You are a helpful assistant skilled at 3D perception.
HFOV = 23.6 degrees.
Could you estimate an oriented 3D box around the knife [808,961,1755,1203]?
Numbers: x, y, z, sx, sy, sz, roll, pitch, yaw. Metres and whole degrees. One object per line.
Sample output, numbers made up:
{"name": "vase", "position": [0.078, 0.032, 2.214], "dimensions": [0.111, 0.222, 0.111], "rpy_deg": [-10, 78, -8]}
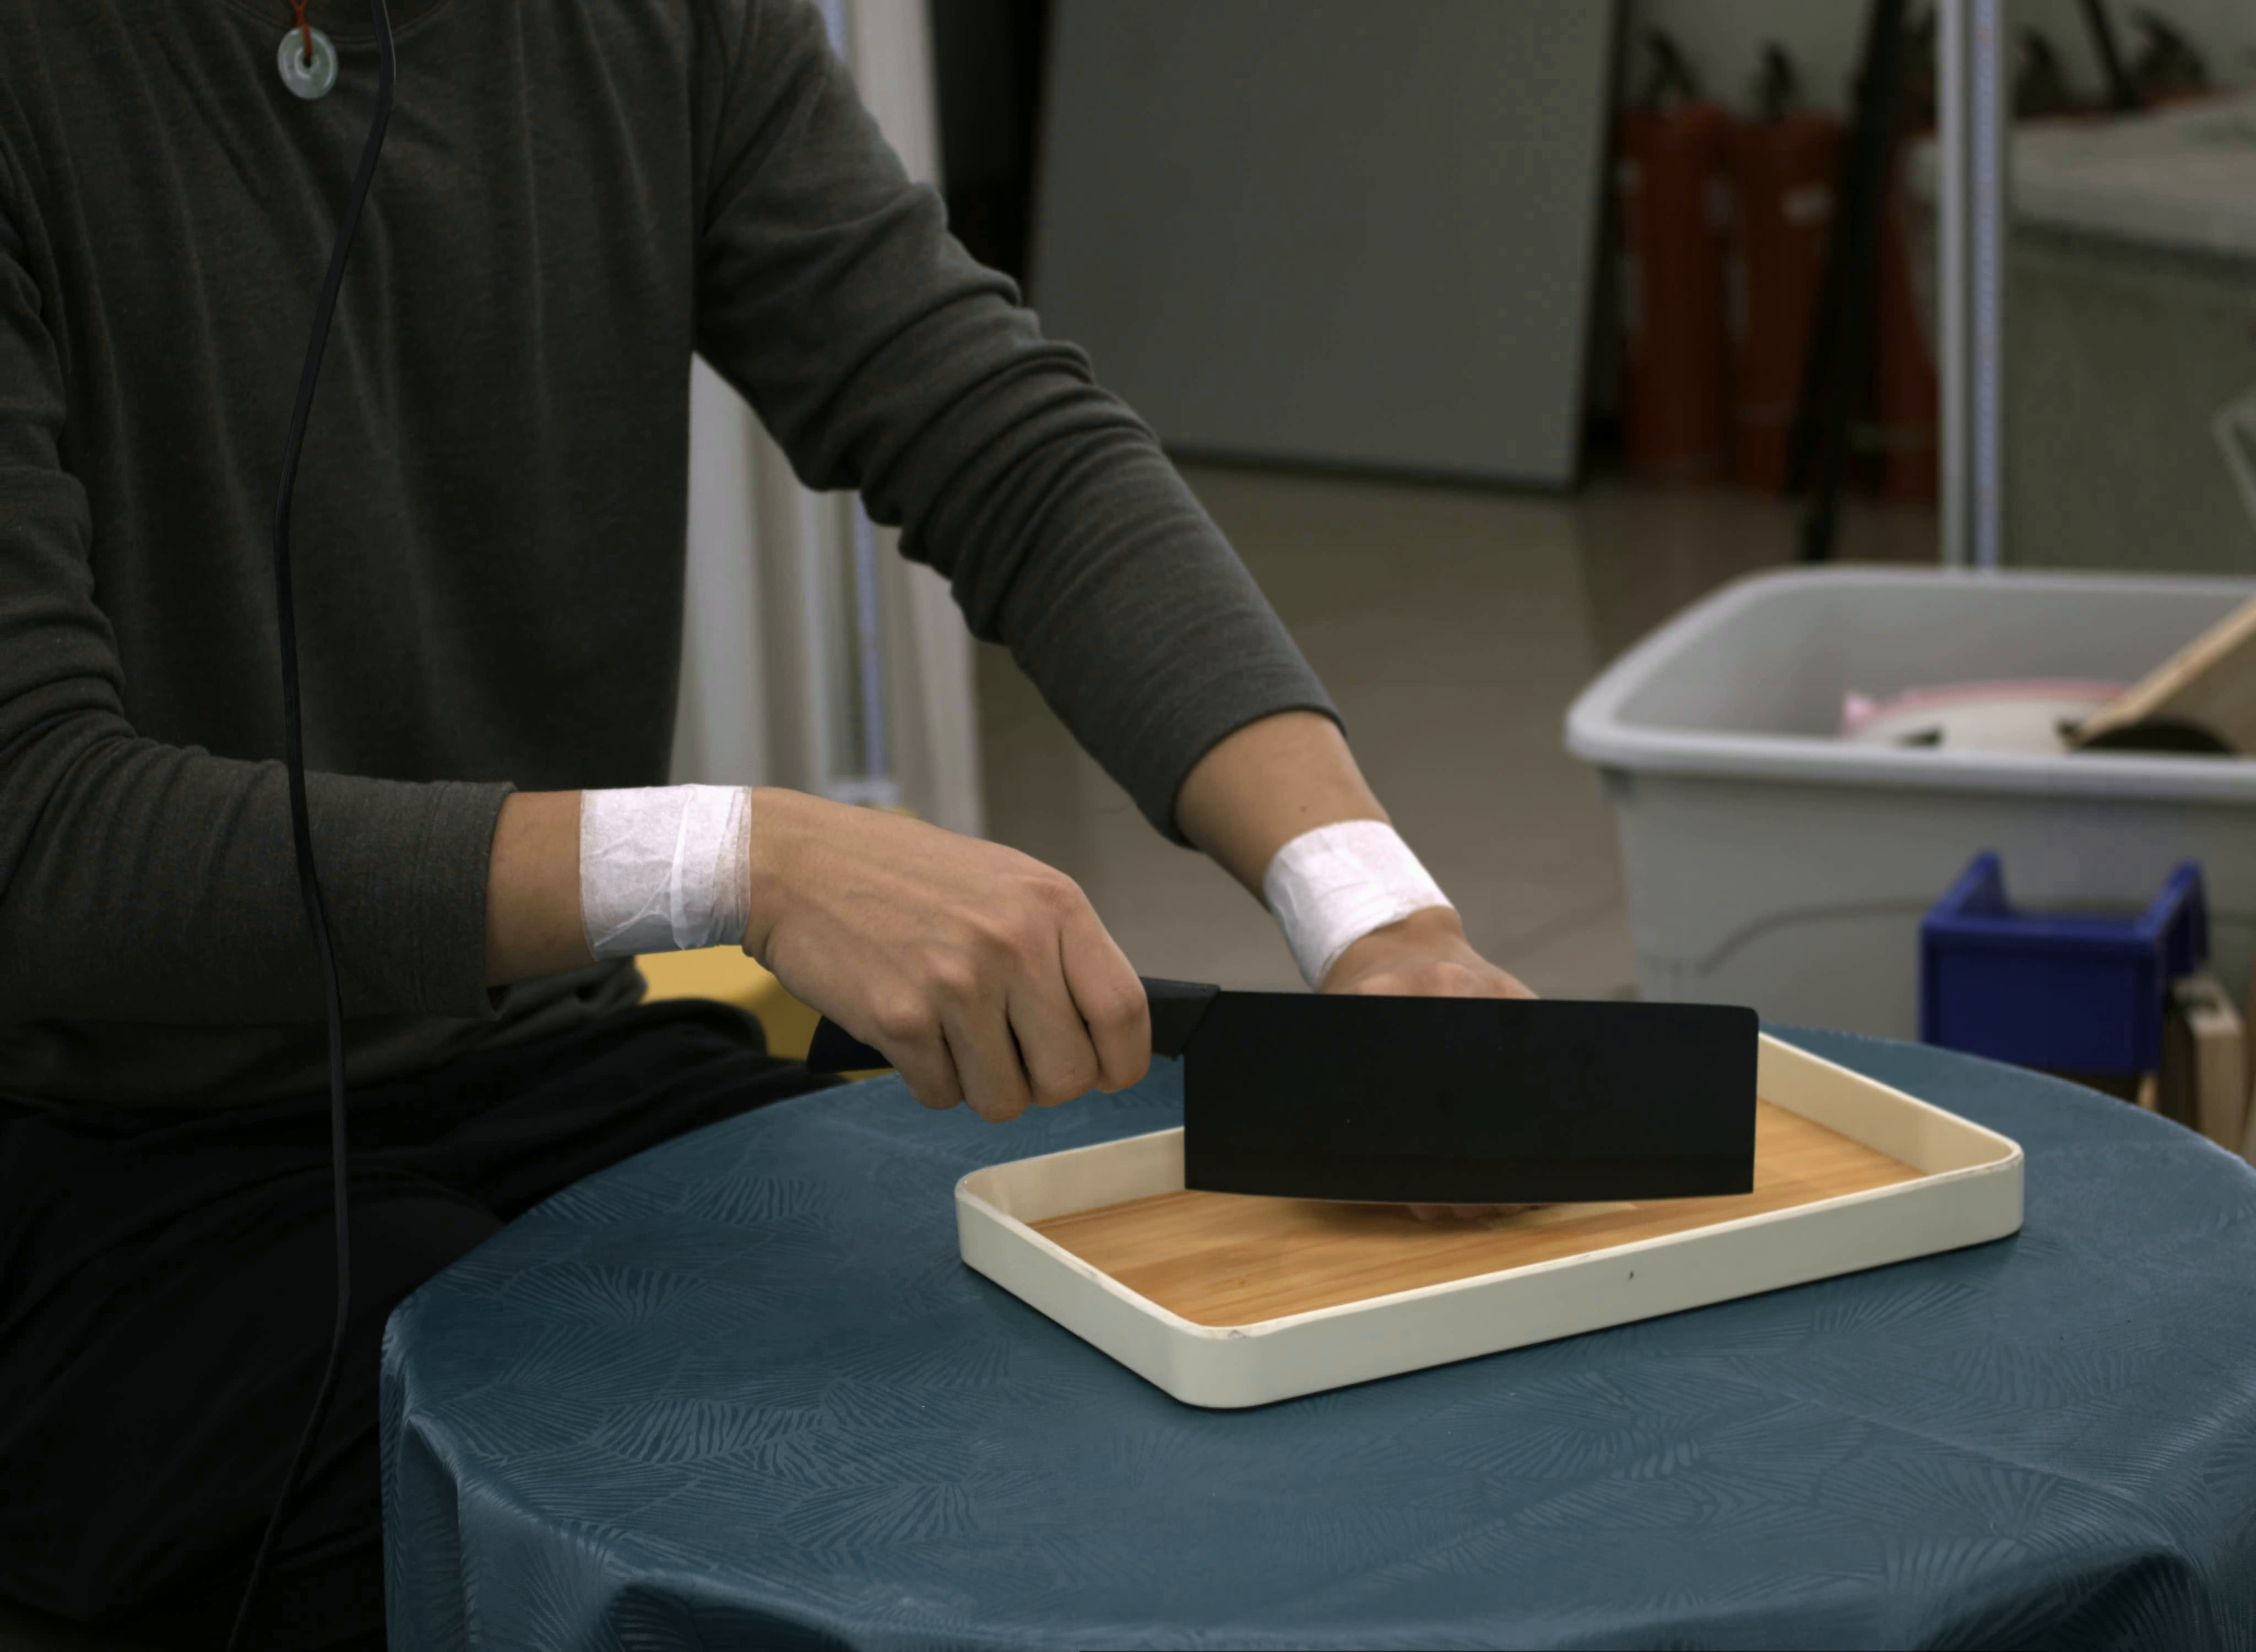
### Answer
{"name": "knife", "position": [0.047, 0.078, 1.683], "dimensions": [0.300, 0.082, 0.021], "rpy_deg": [5, 7, 9]}

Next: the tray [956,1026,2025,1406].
{"name": "tray", "position": [0.113, 0.119, 1.694], "dimensions": [0.294, 0.028, 0.193], "rpy_deg": [-10, 14, -23]}
